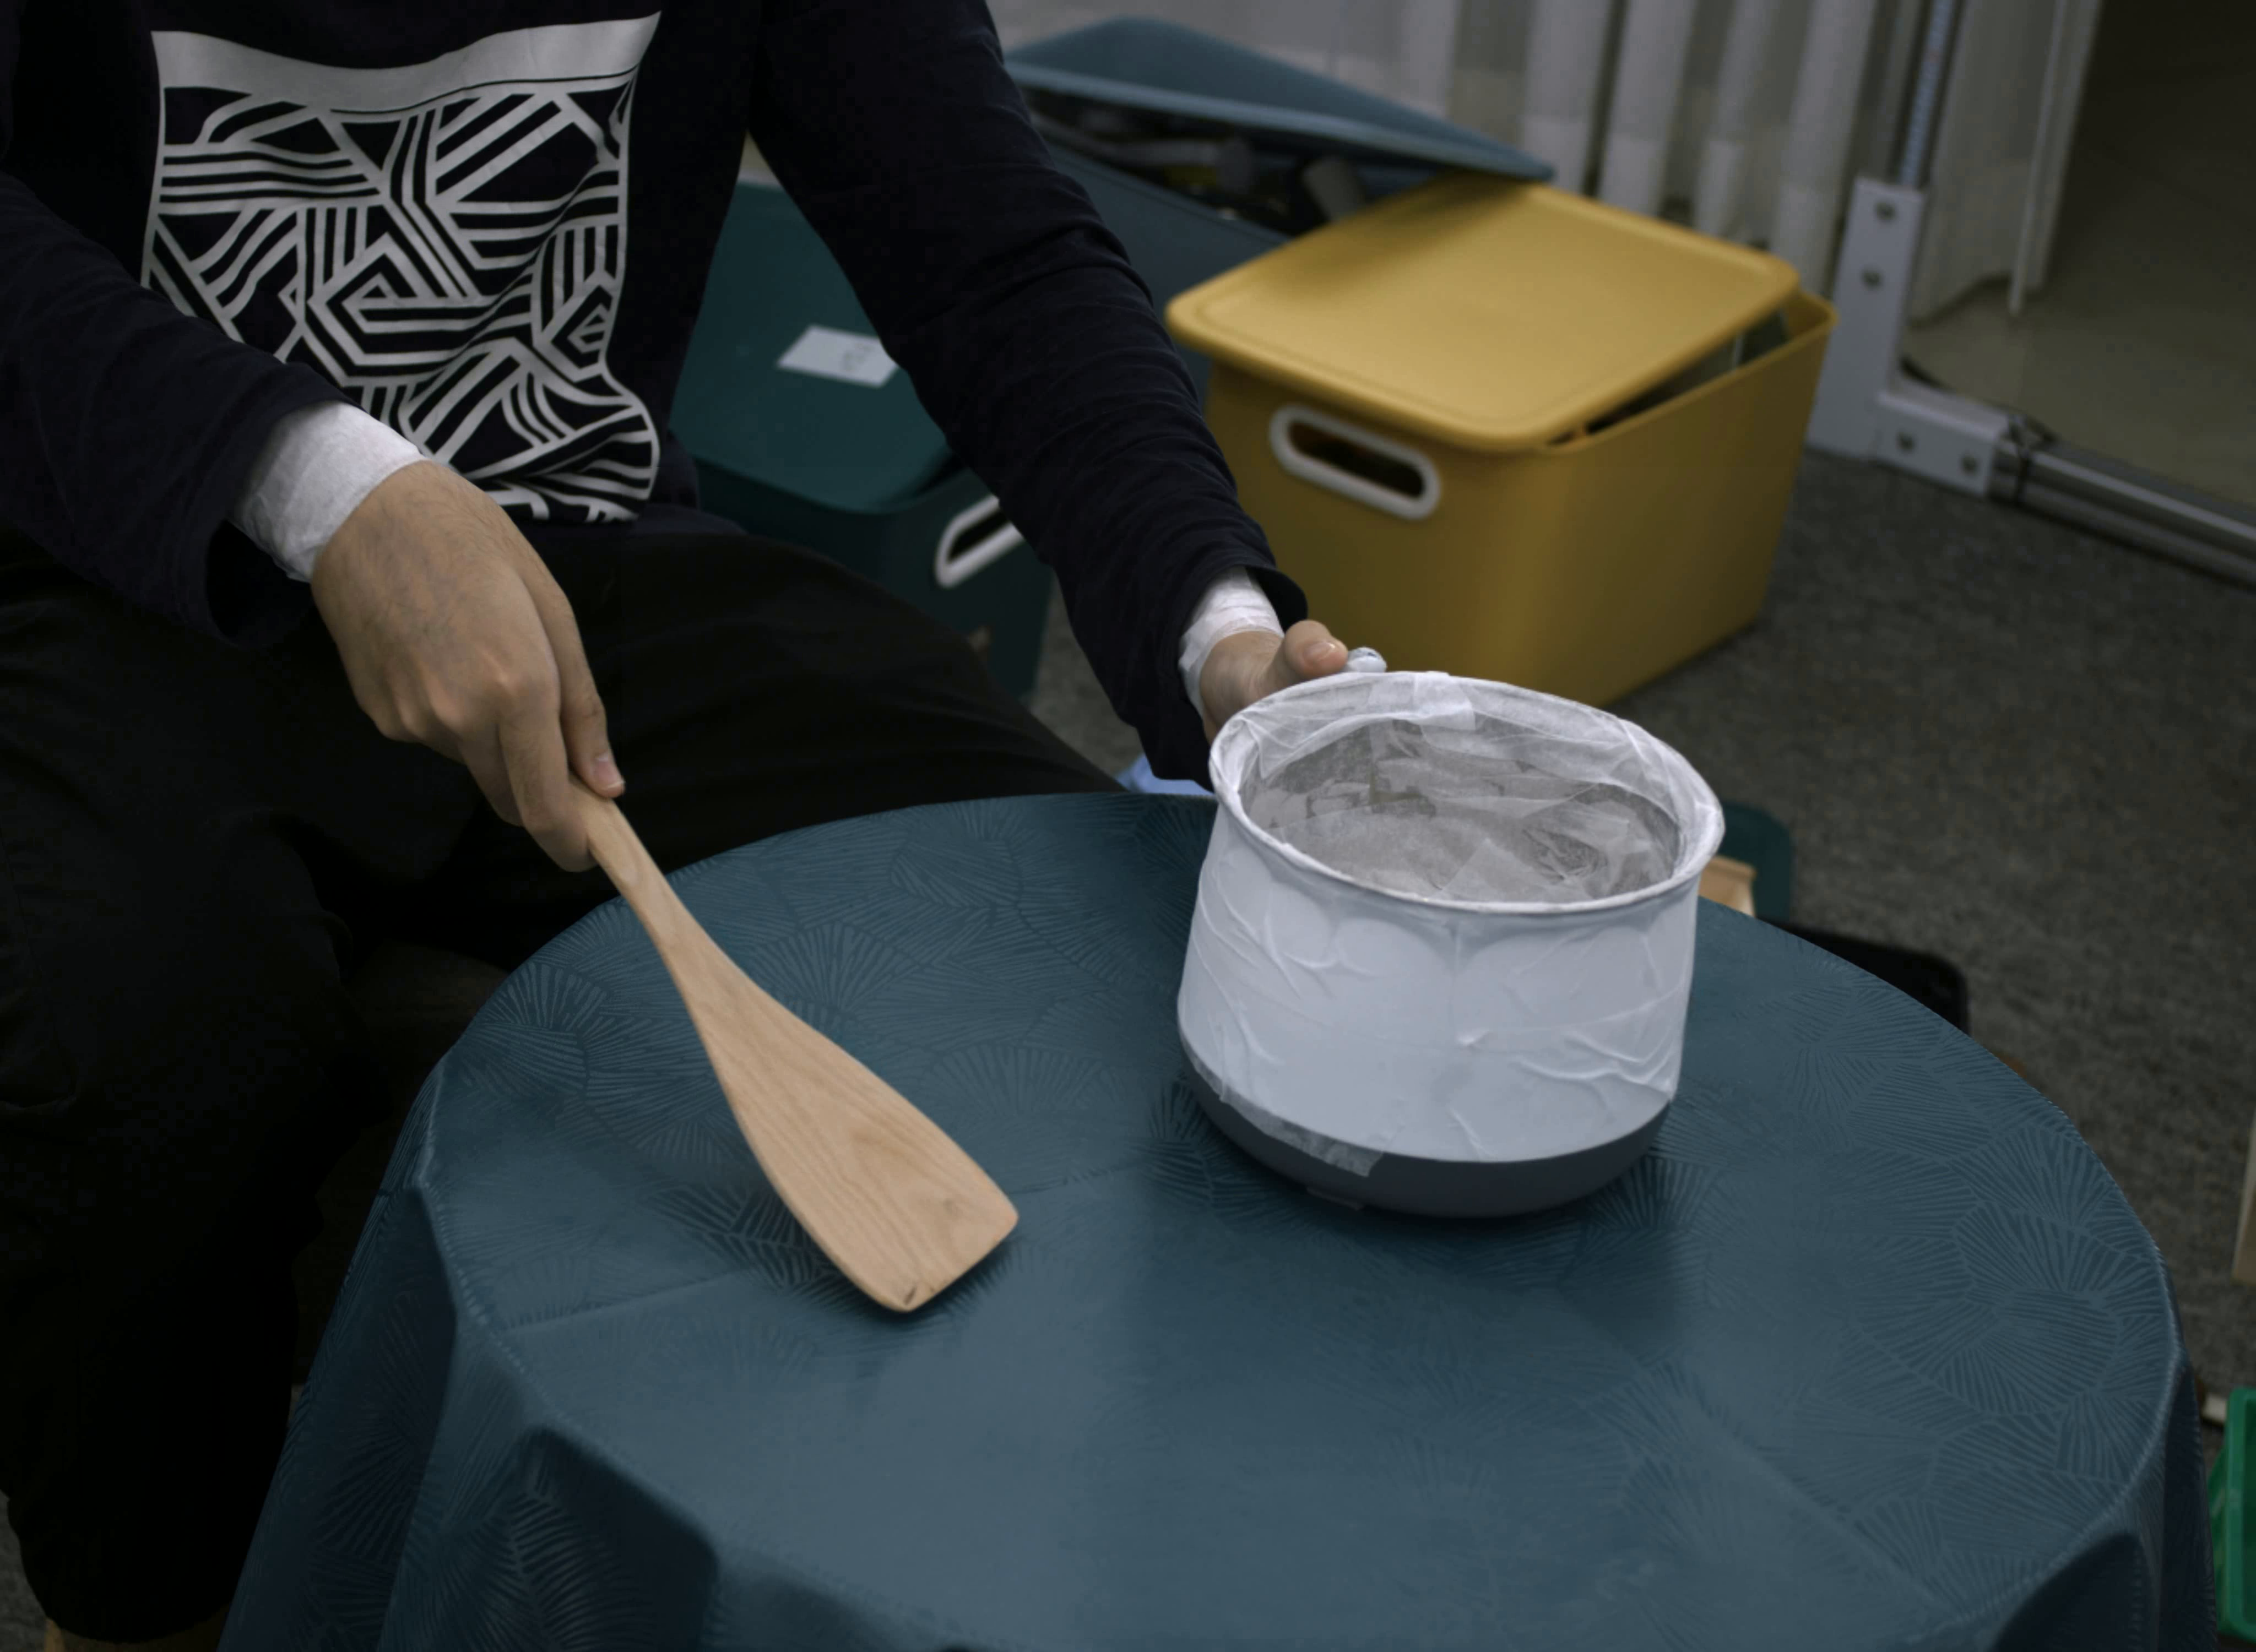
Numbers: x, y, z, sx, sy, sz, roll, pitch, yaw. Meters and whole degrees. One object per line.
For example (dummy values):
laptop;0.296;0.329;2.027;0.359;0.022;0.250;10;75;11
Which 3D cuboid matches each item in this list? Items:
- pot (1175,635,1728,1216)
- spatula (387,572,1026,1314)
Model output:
pot;0.099;0.027;1.860;0.177;0.136;0.236;-3;30;-21
spatula;-0.149;0.032;1.785;0.079;0.016;0.329;-20;64;-45
